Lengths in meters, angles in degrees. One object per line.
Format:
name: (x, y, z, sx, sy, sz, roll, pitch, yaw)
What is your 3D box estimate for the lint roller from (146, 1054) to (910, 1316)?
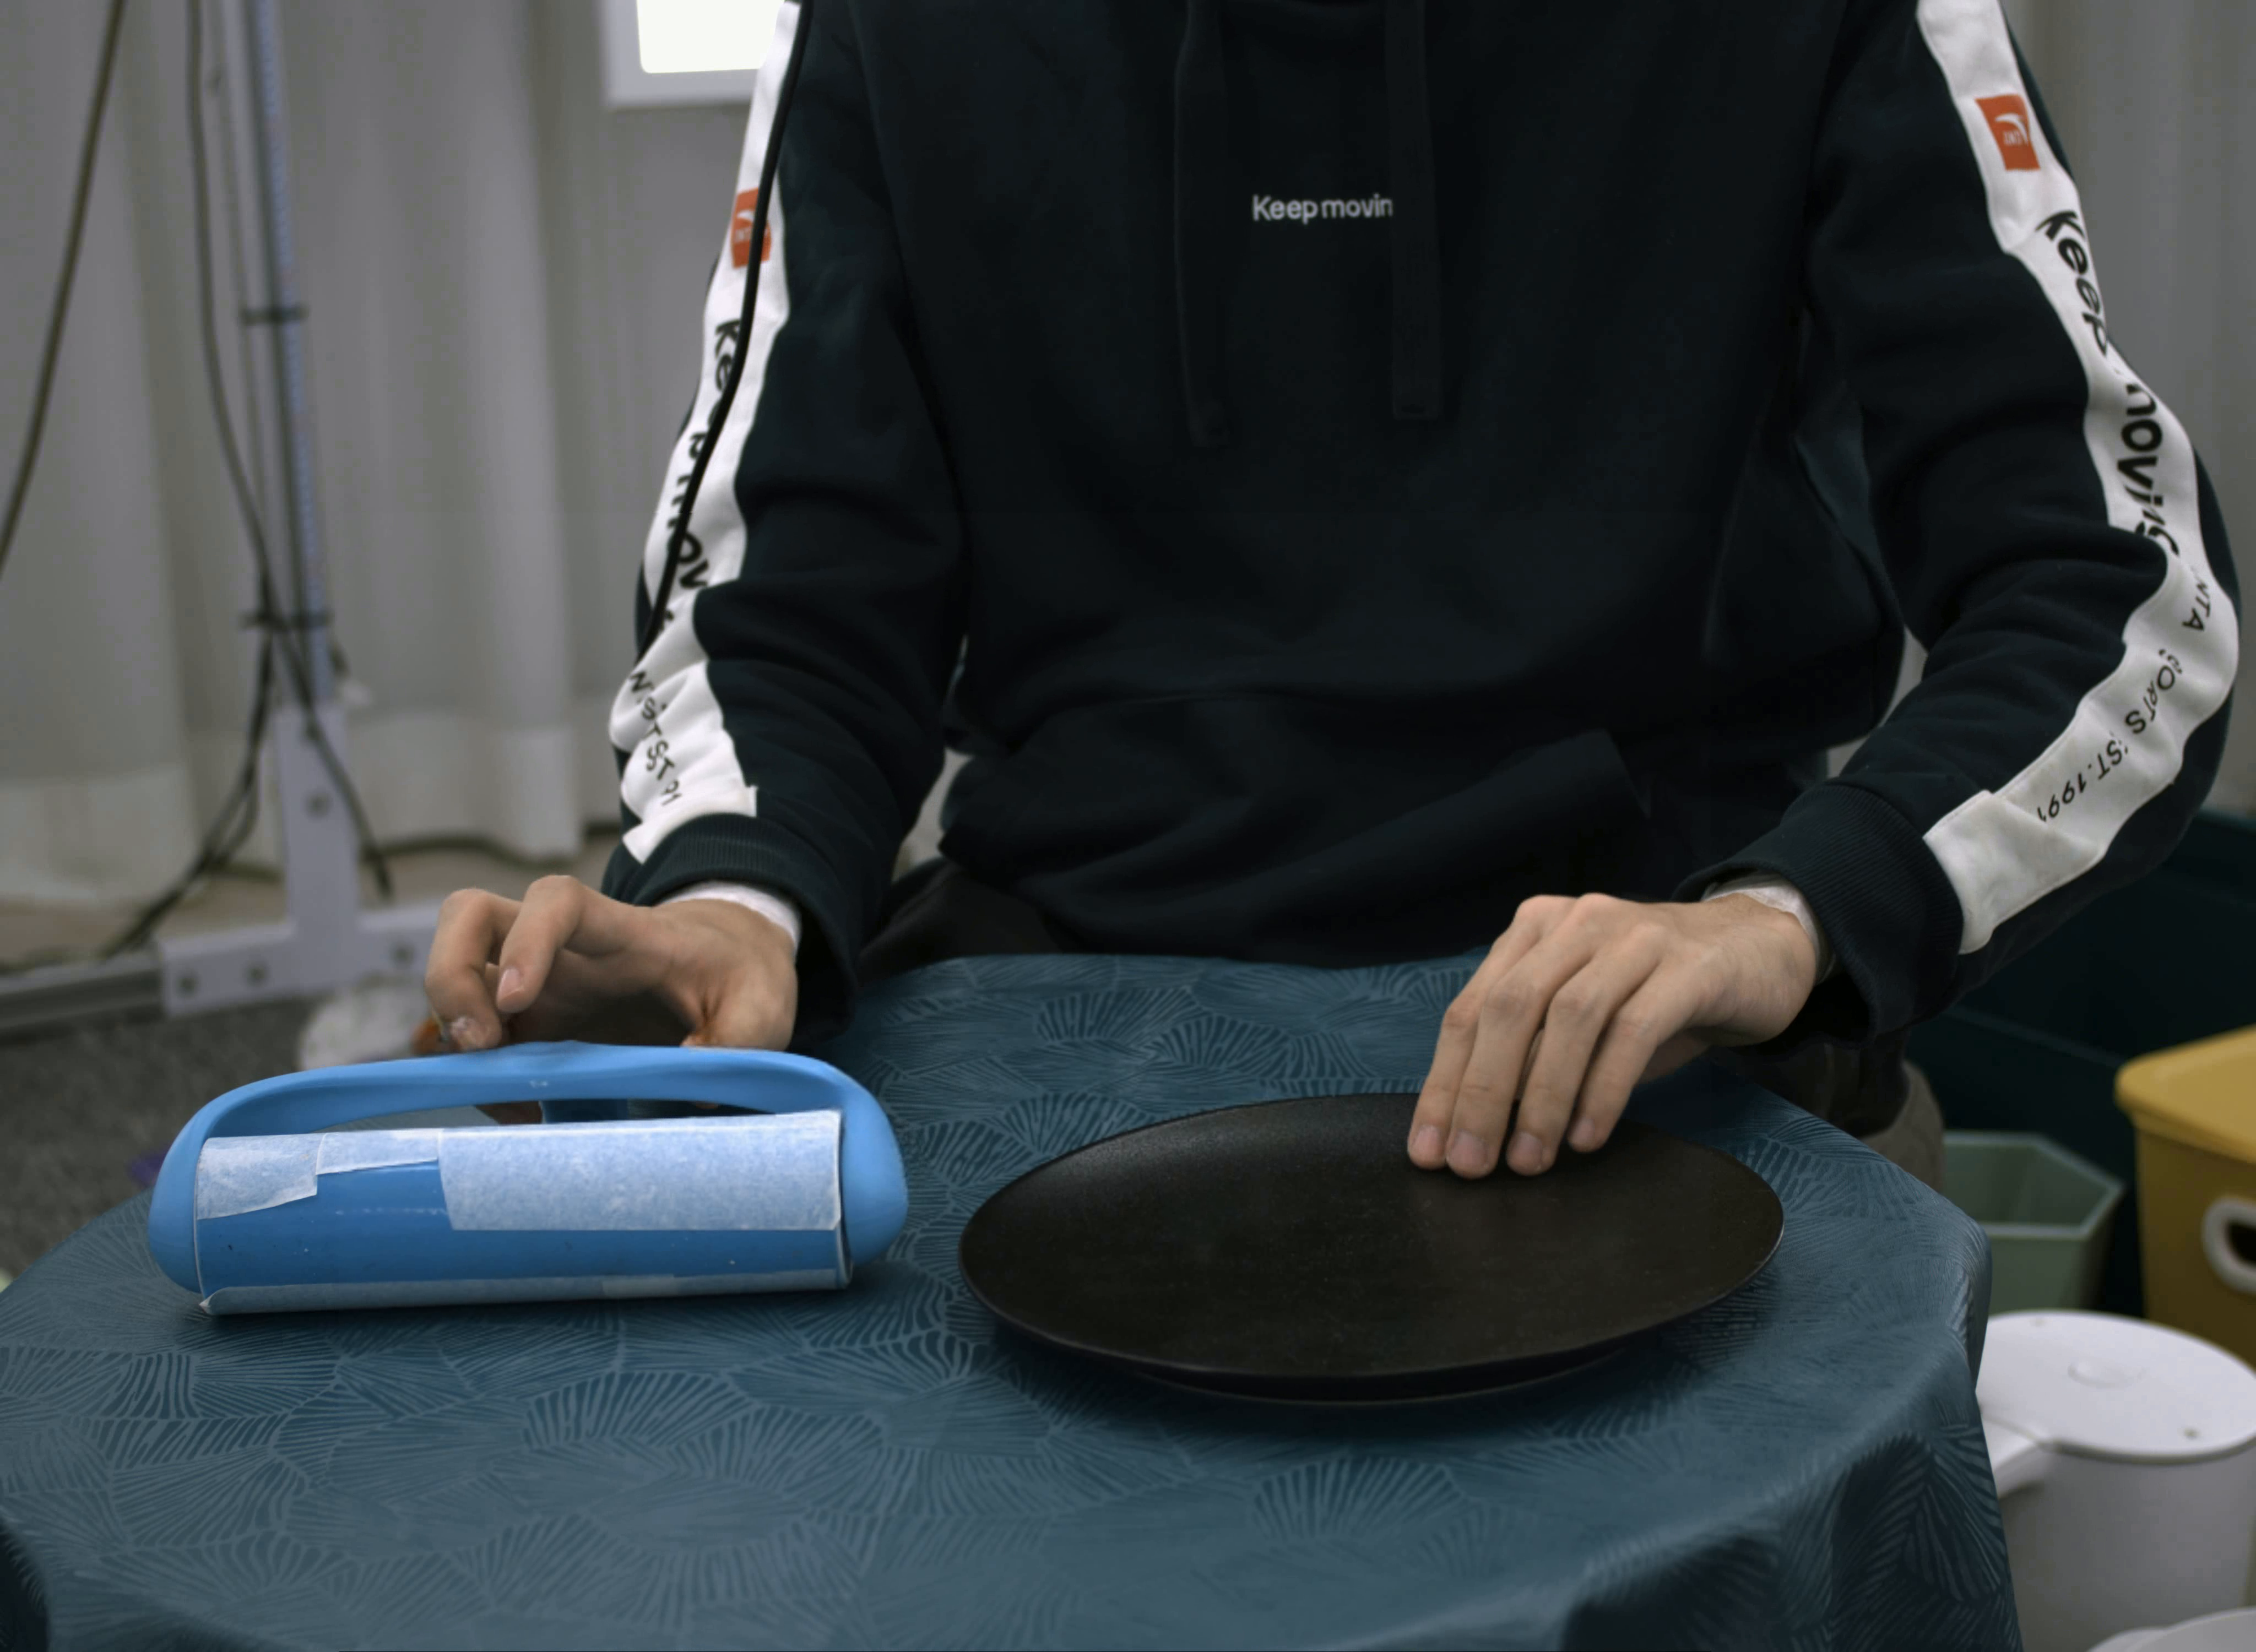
lint roller: (-0.182, 0.101, 1.695, 0.228, 0.067, 0.181, -4, 14, -1)

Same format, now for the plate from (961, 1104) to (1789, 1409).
plate: (0.072, 0.128, 1.606, 0.243, 0.023, 0.246, -3, 15, 0)
